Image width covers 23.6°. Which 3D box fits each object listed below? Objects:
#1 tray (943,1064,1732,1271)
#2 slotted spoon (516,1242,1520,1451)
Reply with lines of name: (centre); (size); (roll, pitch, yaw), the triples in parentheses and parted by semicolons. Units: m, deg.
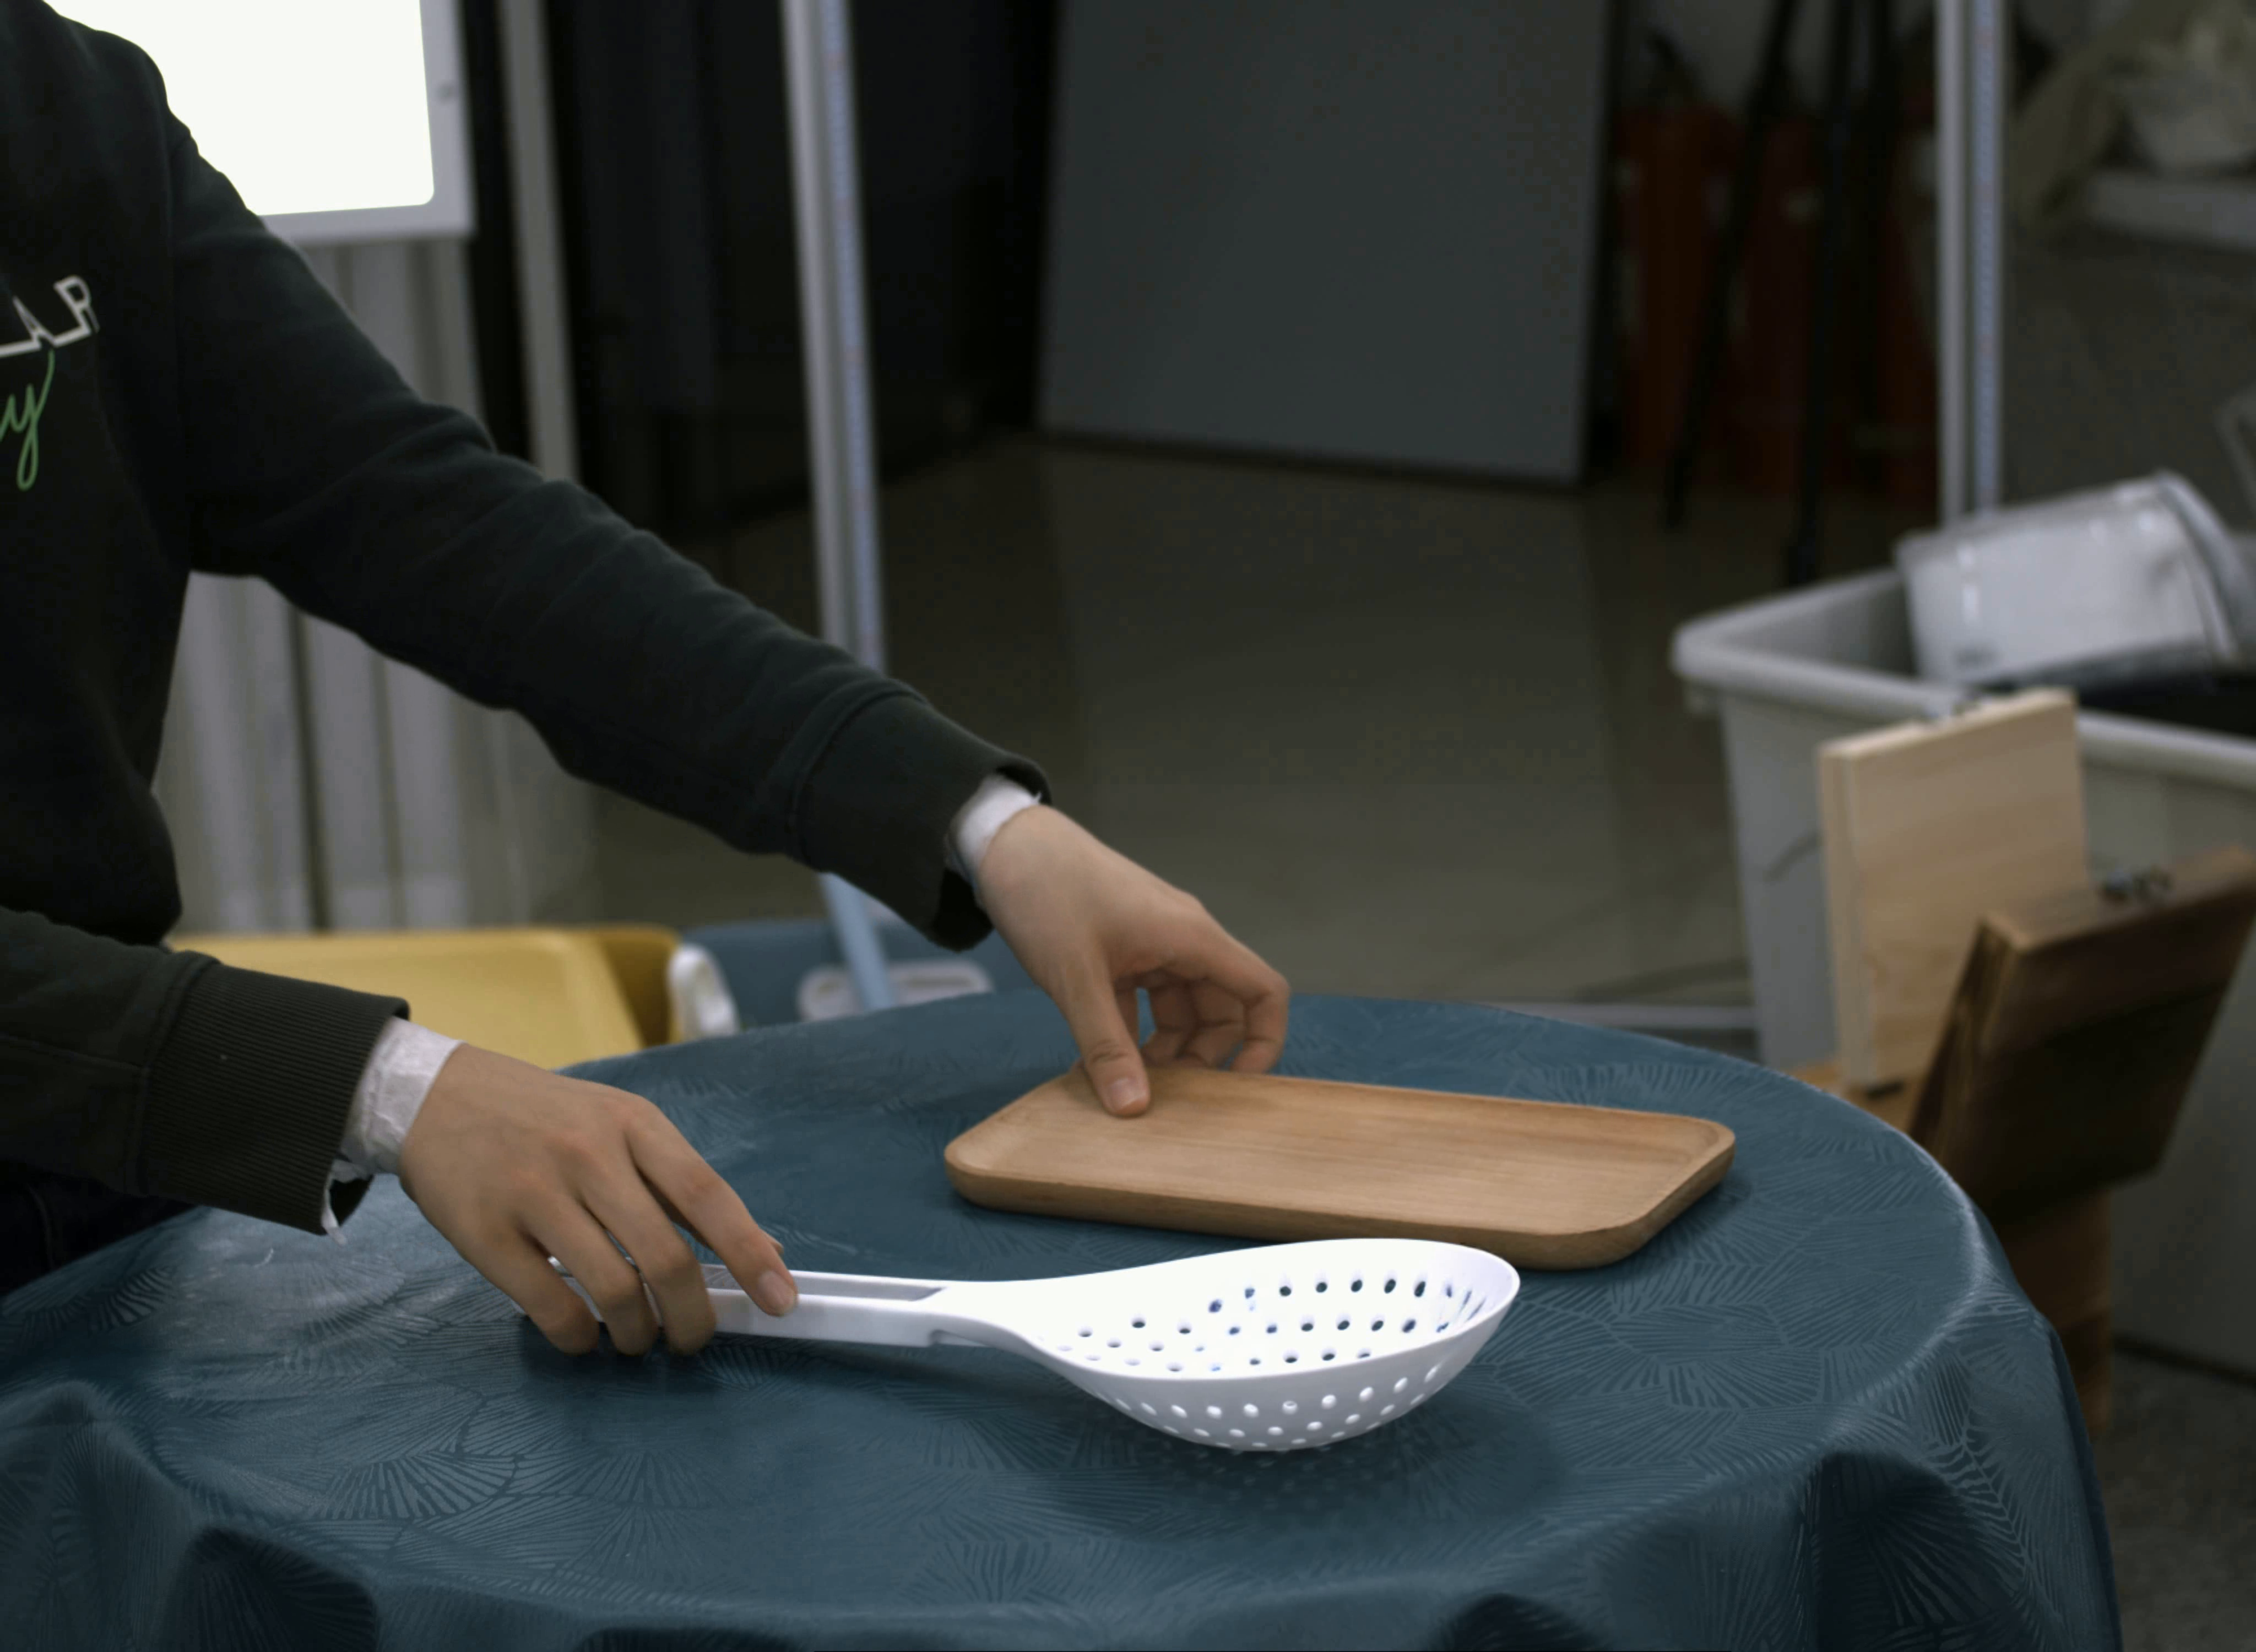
tray: (0.068, 0.110, 1.760); (0.251, 0.023, 0.128); (3, 14, 29)
slotted spoon: (-0.043, 0.144, 1.595); (0.352, 0.046, 0.133); (5, 14, 34)
